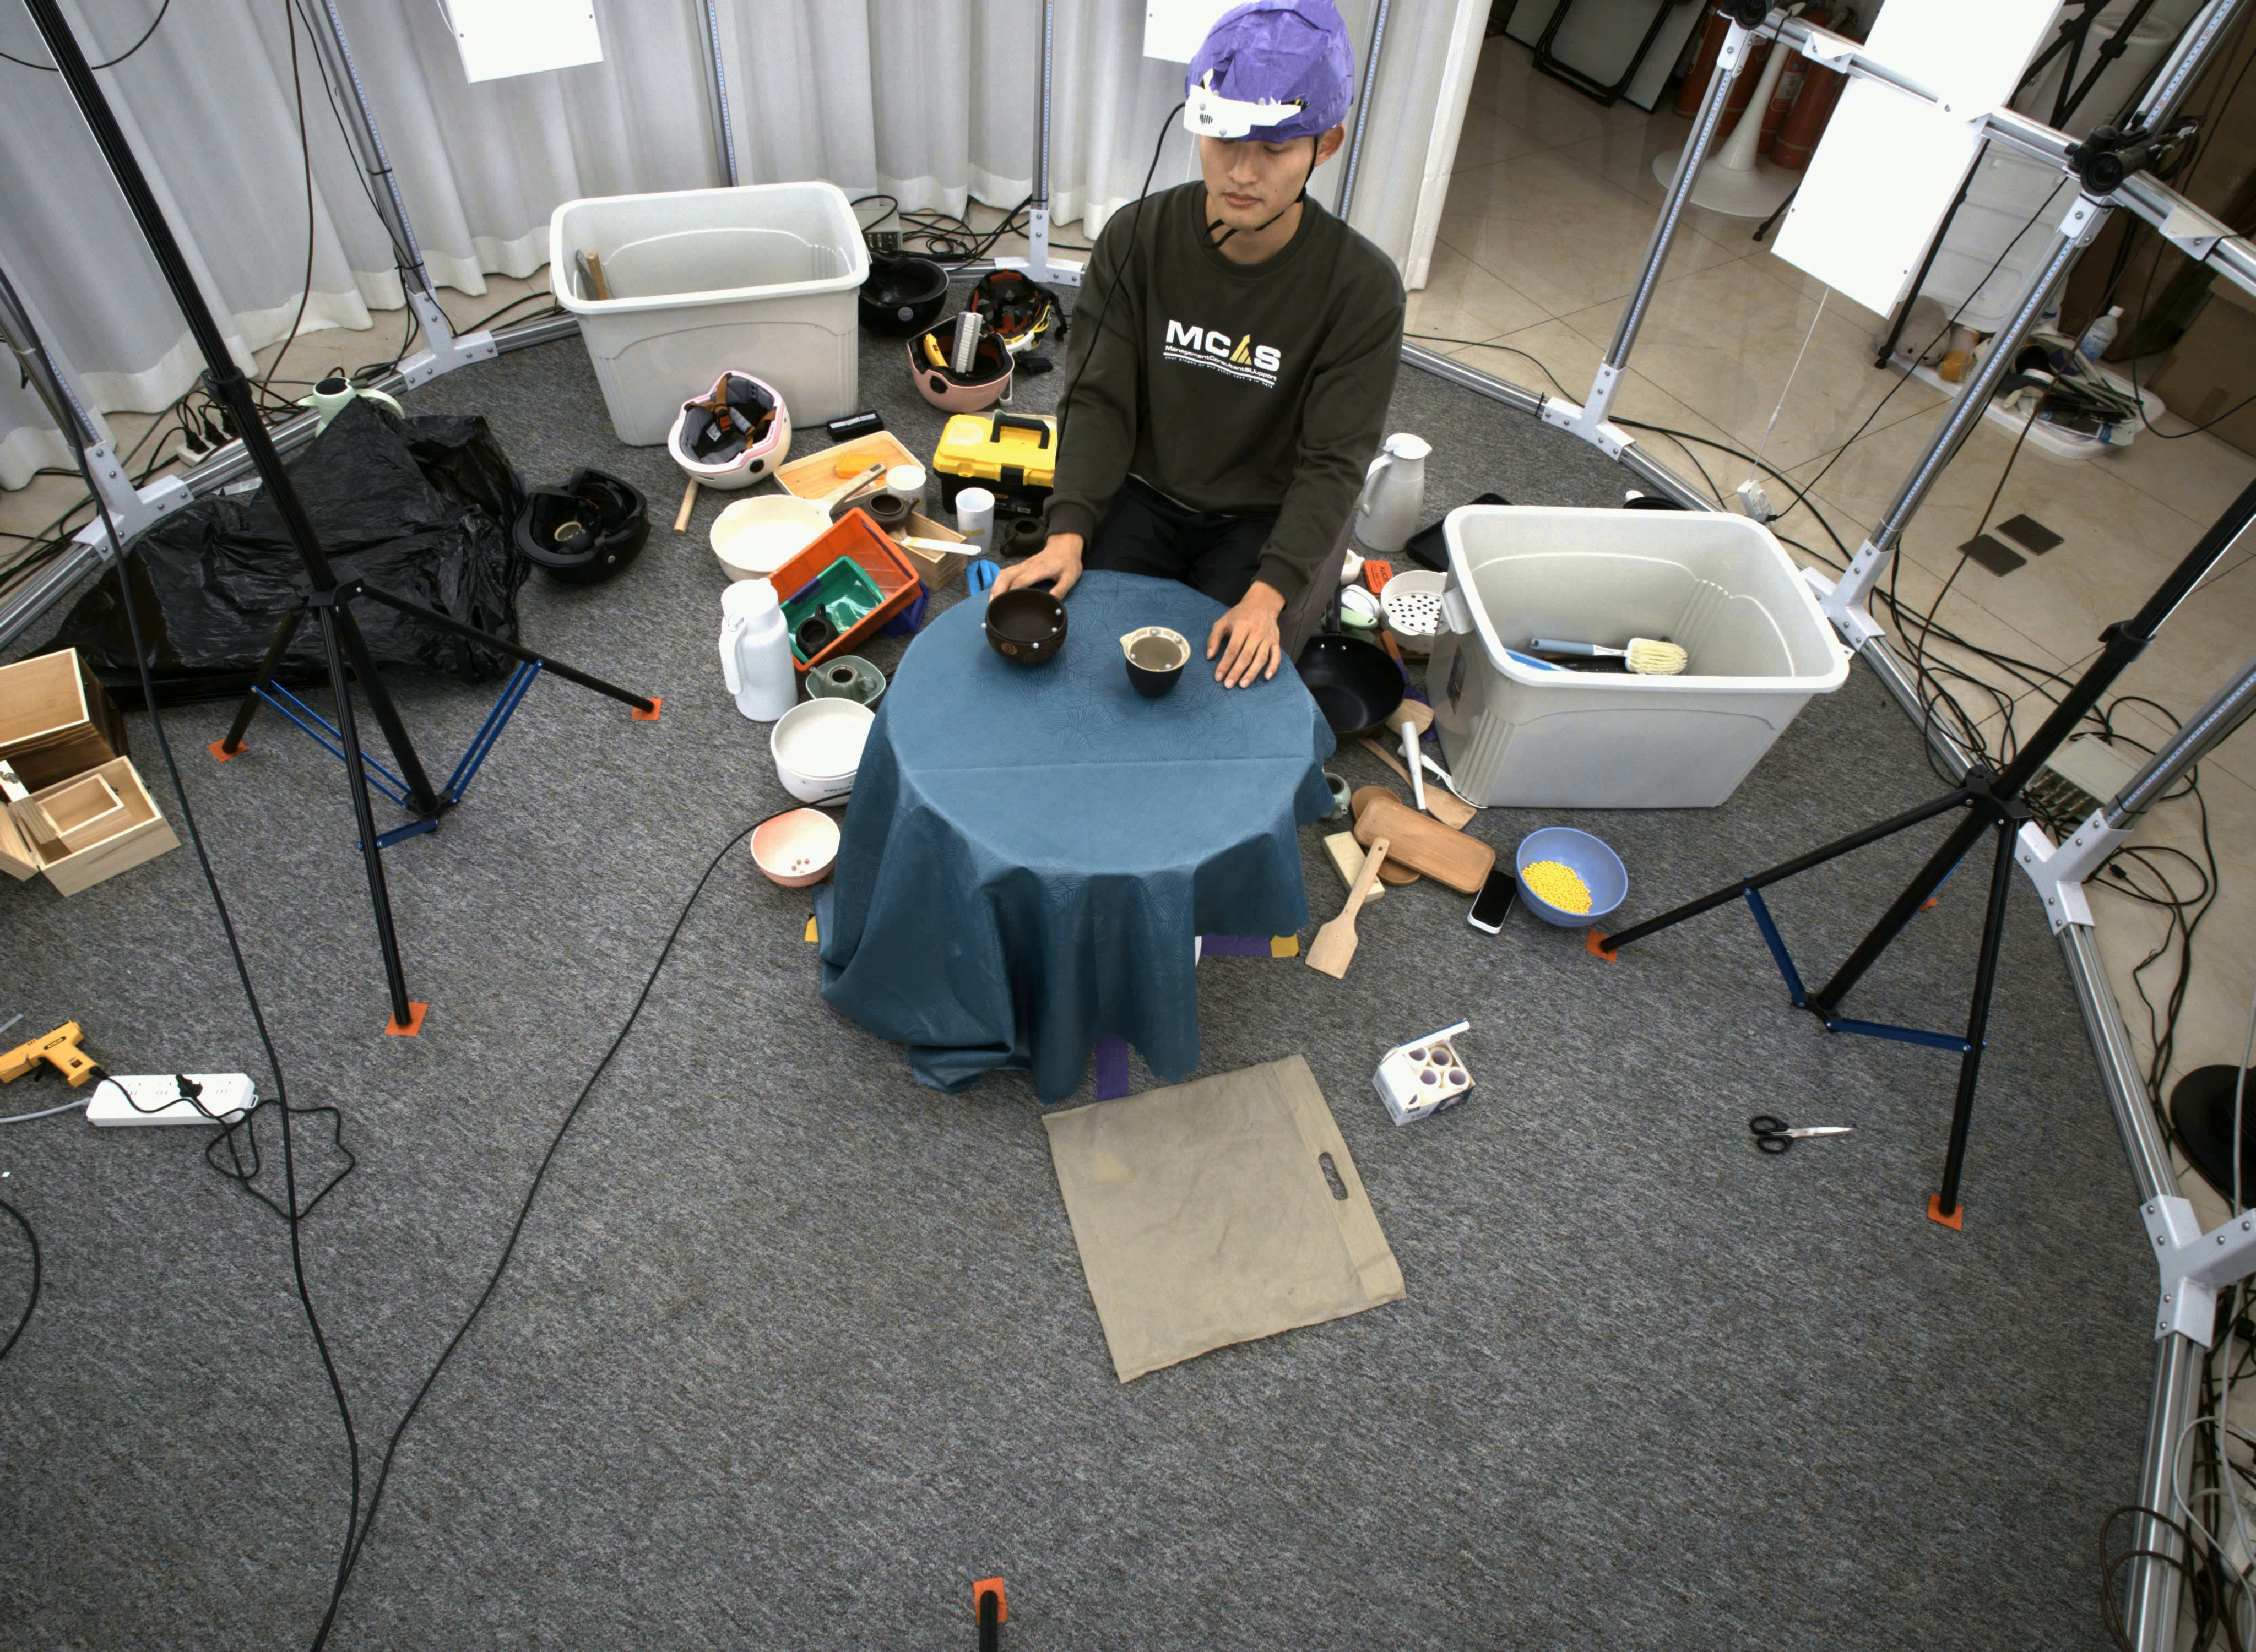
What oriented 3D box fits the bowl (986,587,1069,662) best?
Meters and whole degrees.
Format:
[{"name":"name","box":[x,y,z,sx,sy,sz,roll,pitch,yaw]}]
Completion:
[{"name":"bowl","box":[-0.145,-0.281,1.851,0.118,0.068,0.121,2,47,-3]}]

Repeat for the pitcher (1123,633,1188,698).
[{"name":"pitcher","box":[0.036,-0.226,1.817,0.096,0.069,0.085,23,54,17]}]
